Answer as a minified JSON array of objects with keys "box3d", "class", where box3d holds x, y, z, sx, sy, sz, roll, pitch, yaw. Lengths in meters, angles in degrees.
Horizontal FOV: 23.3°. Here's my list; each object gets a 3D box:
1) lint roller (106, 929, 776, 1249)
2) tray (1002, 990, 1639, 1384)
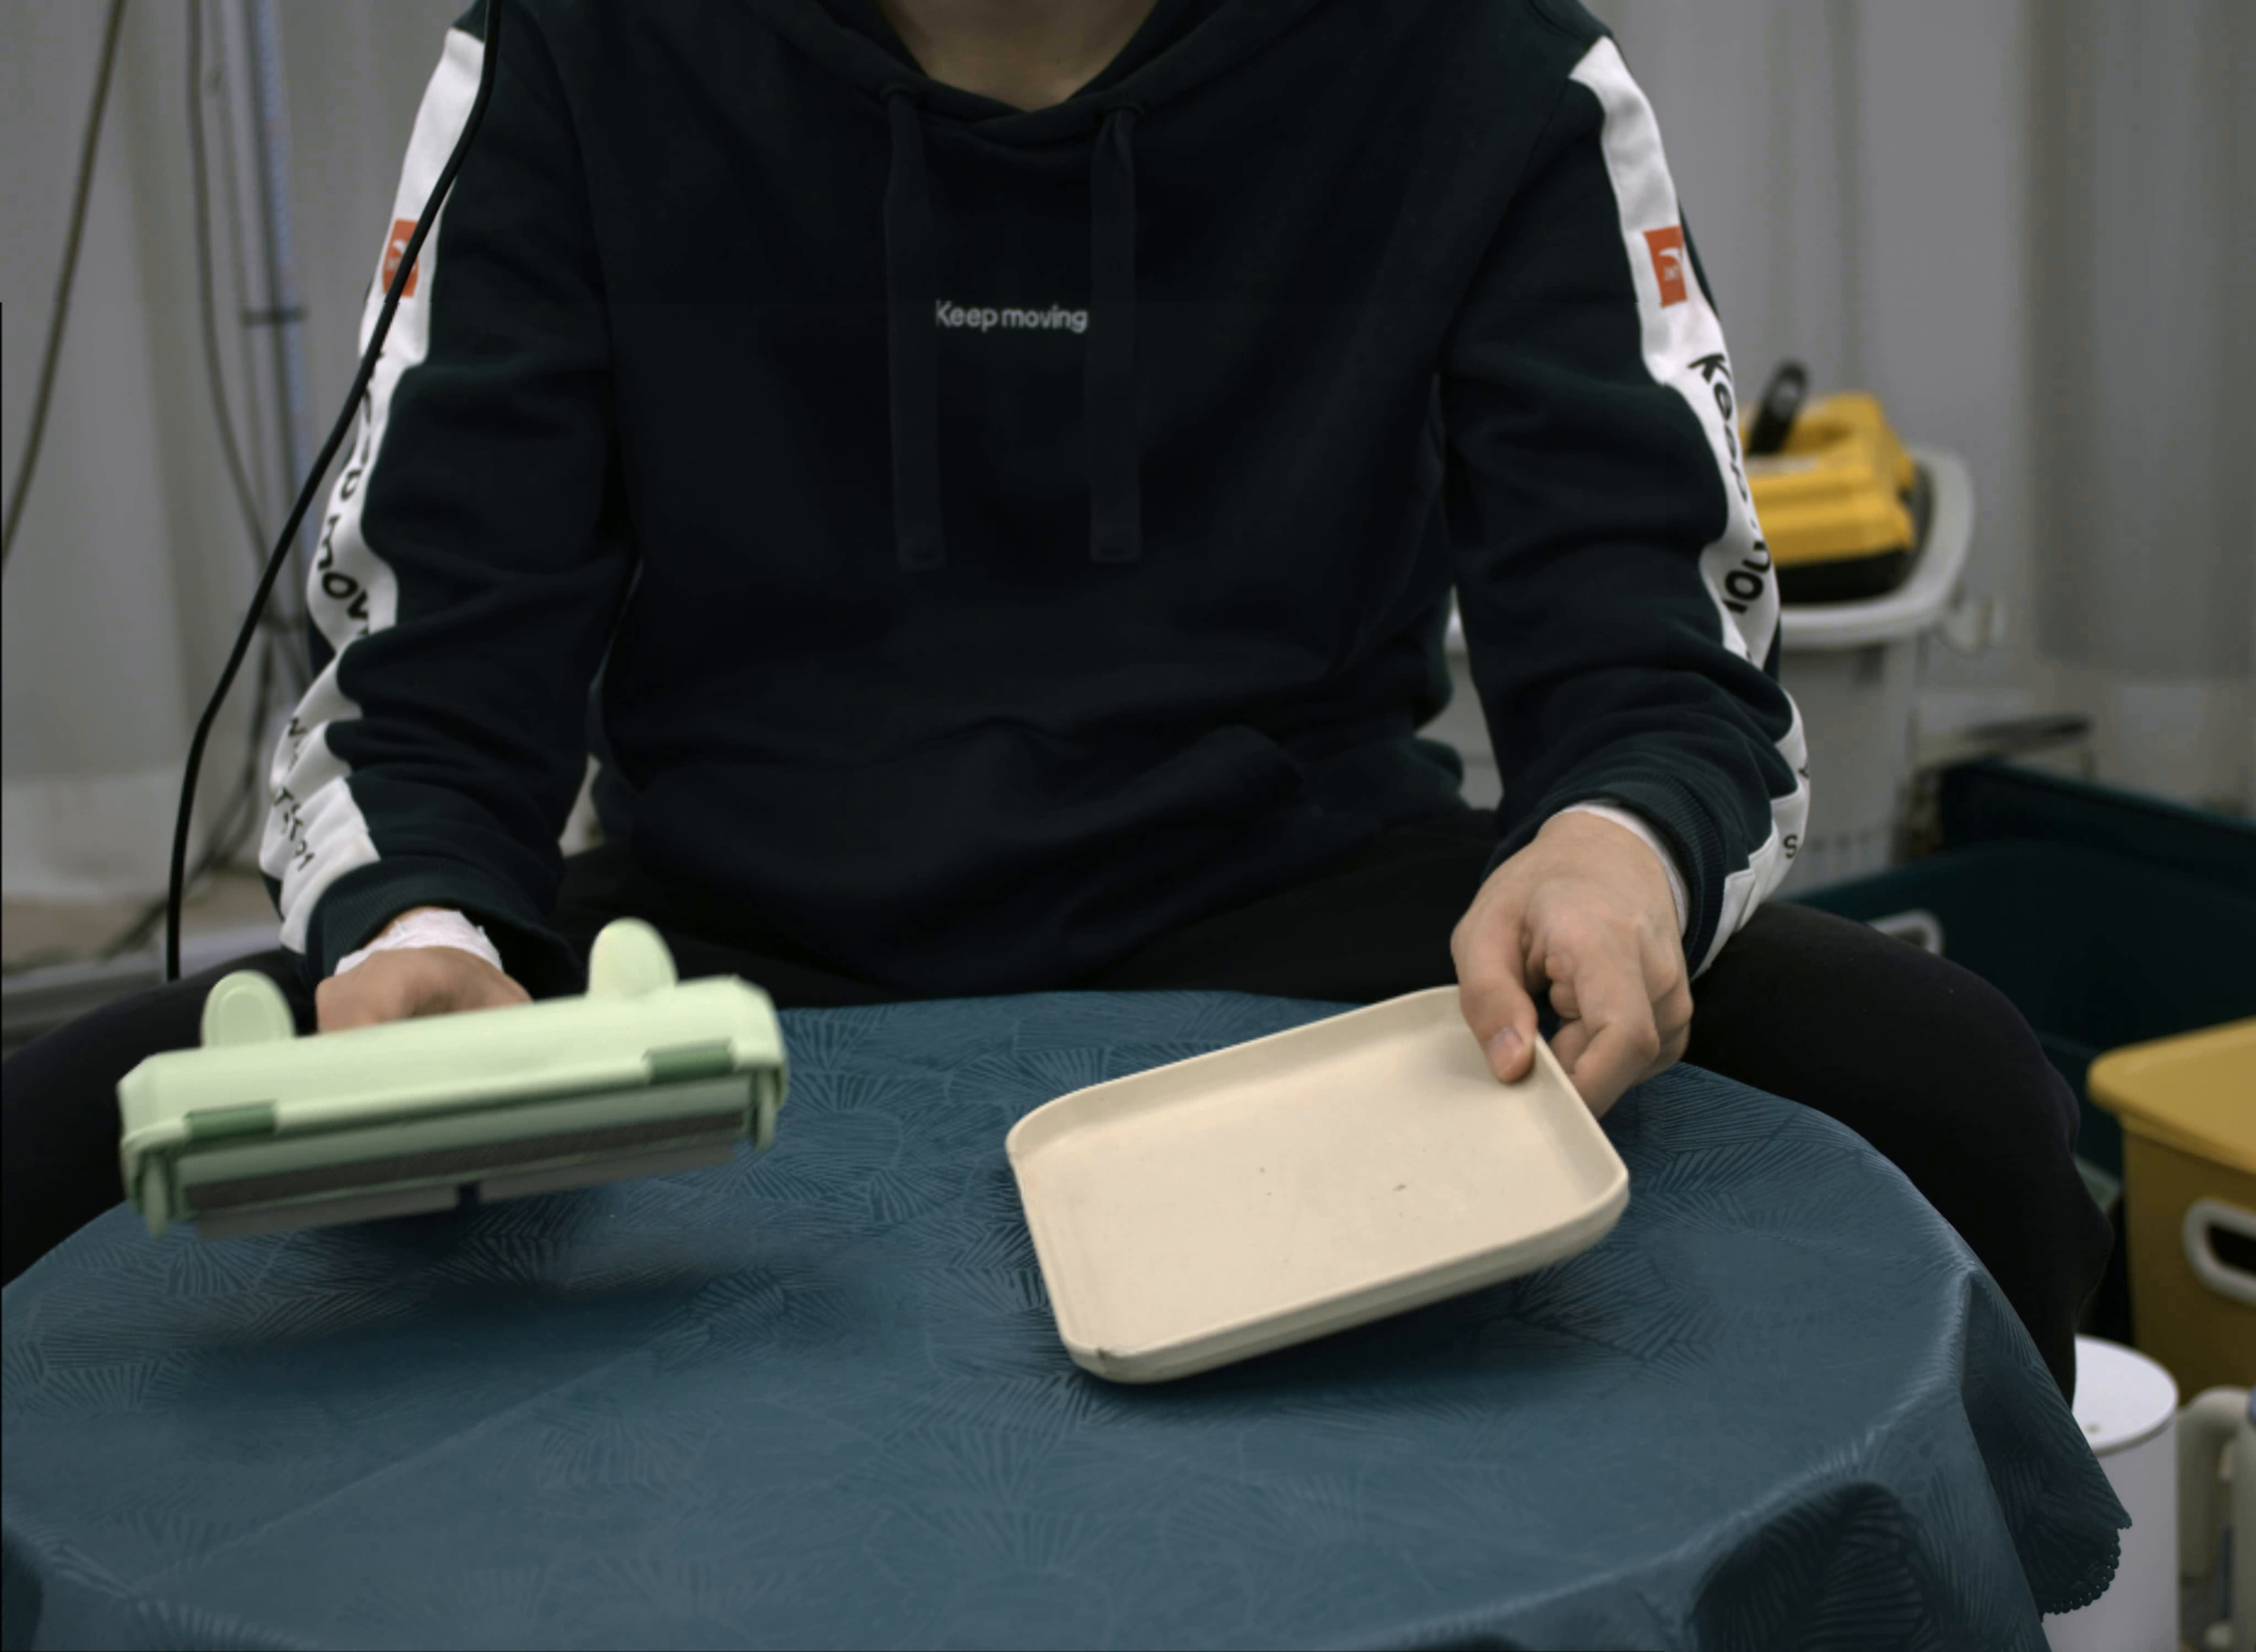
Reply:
[{"box3d":[-0.217,0.072,1.686,0.198,0.082,0.184,-8,10,-12],"class":"lint roller"},{"box3d":[0.054,0.107,1.643,0.171,0.017,0.241,-15,16,-3],"class":"tray"}]
